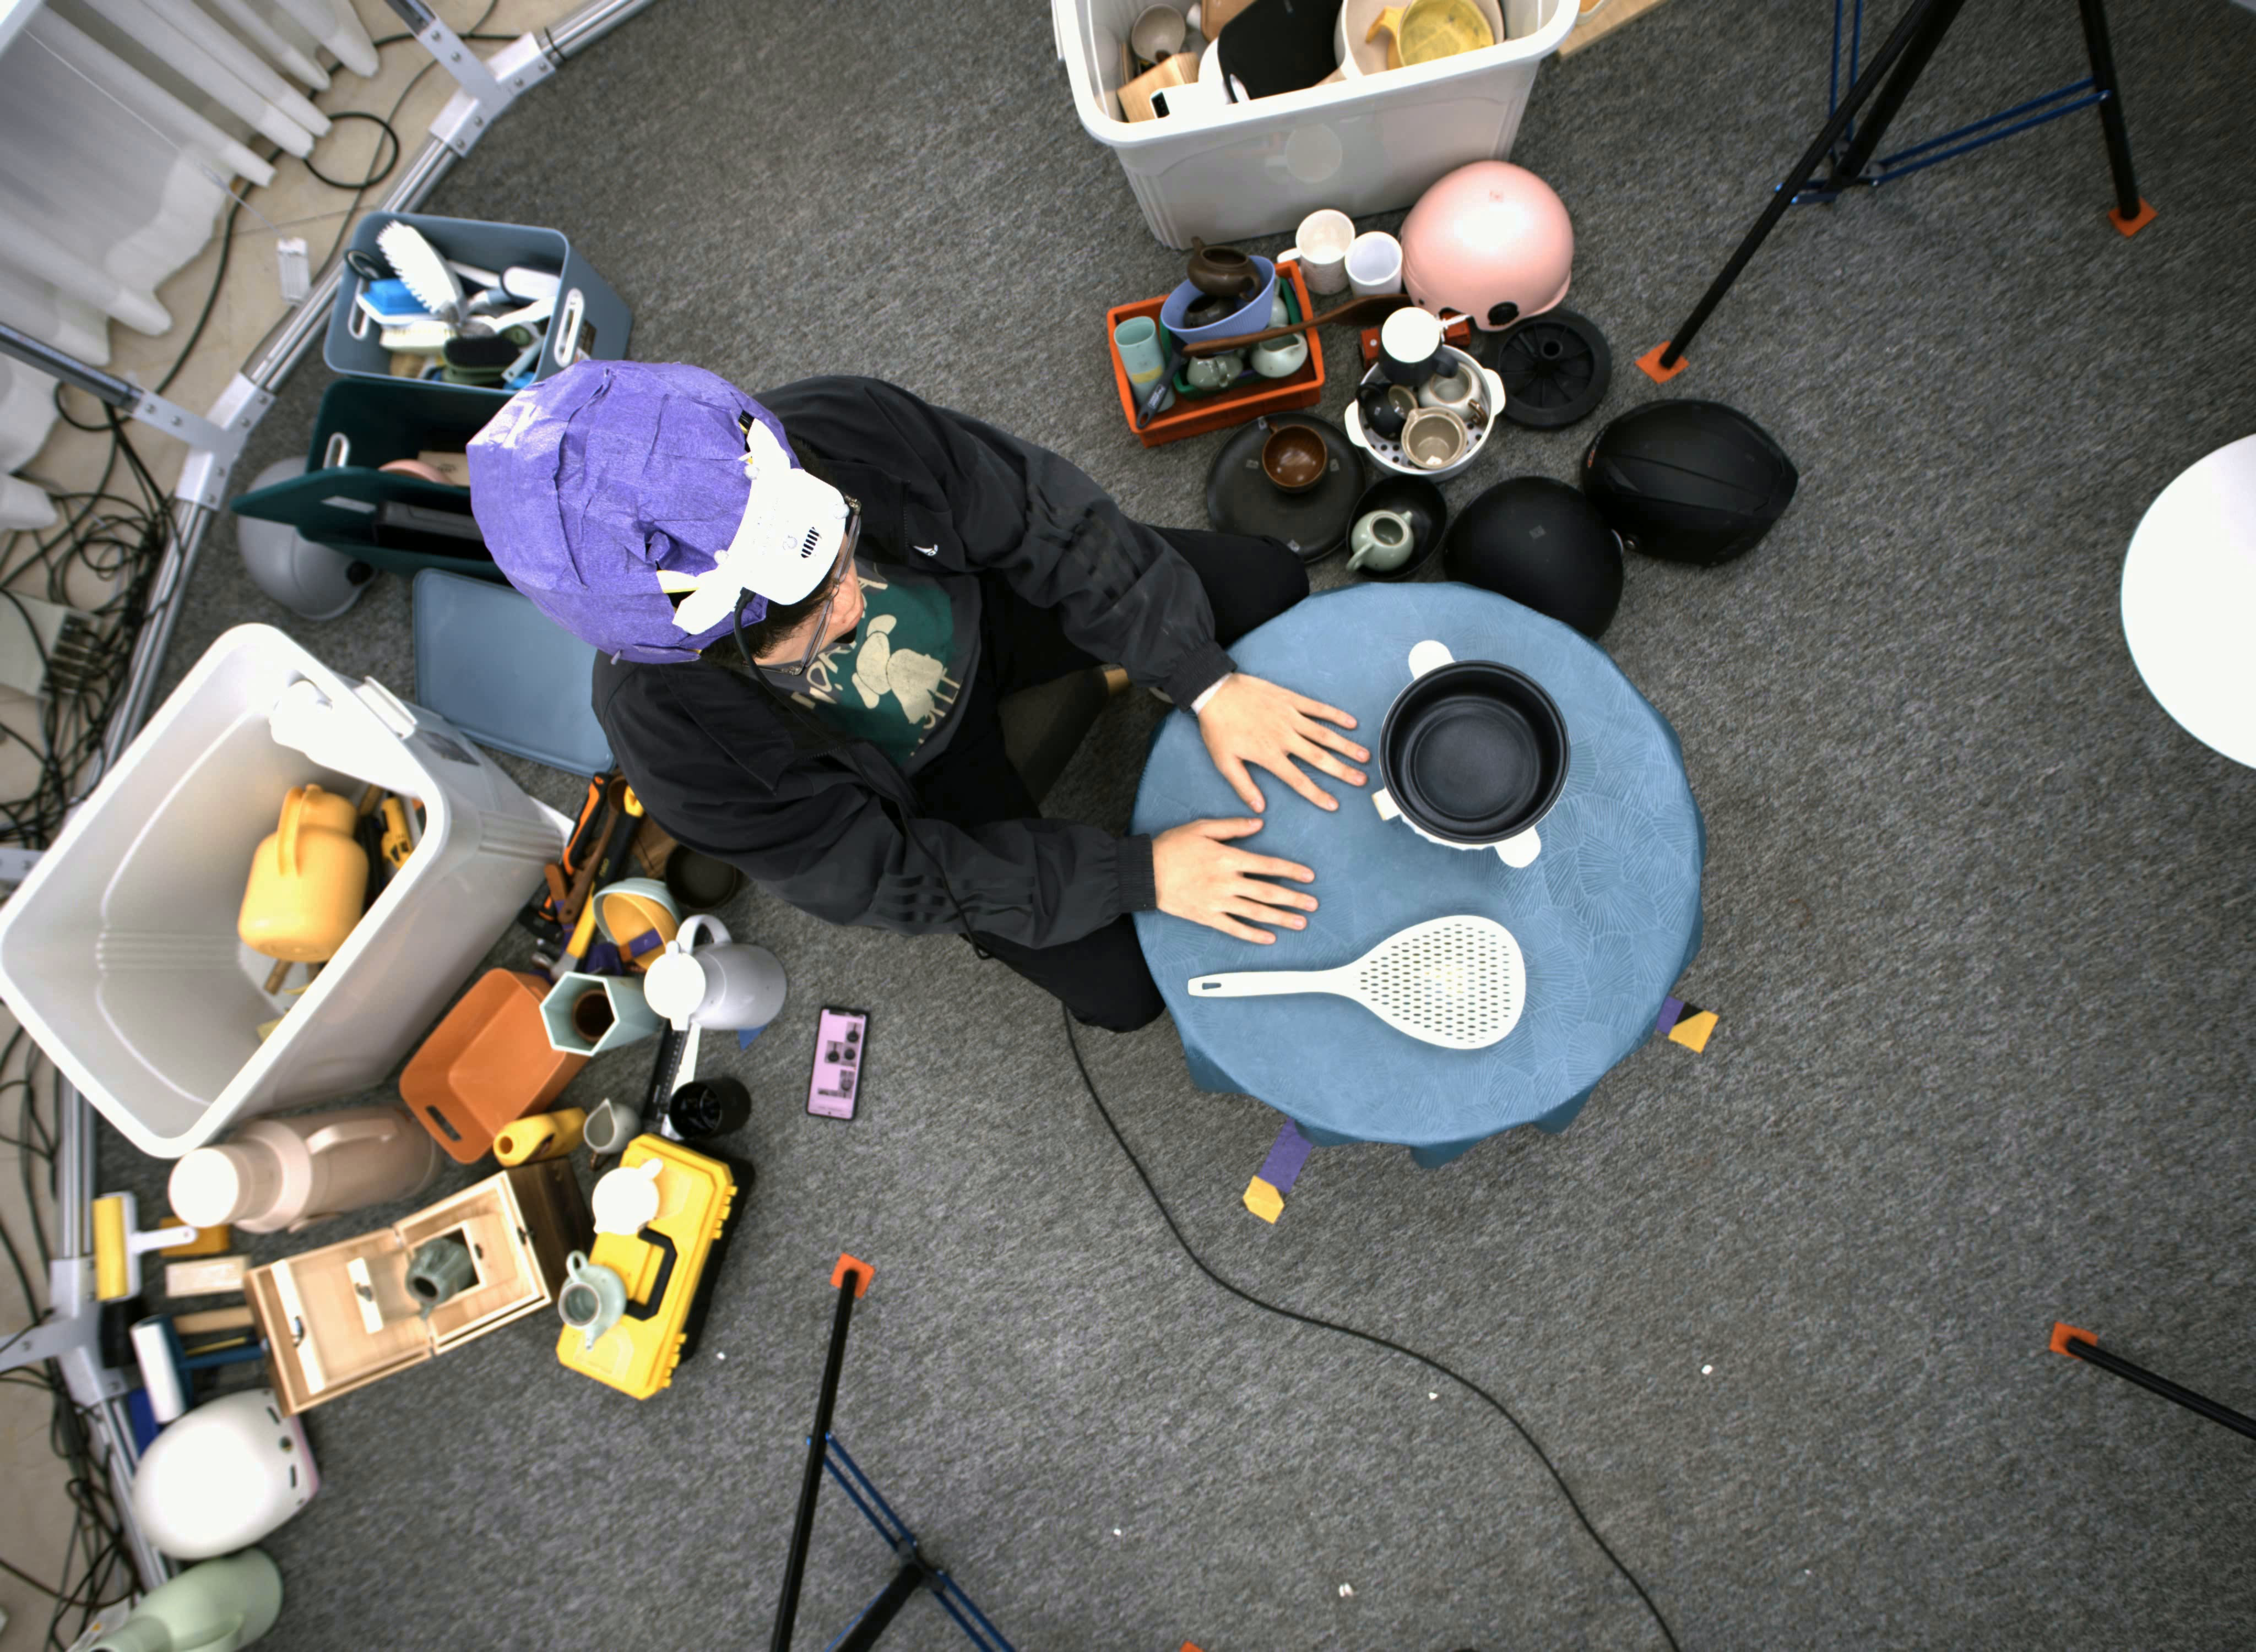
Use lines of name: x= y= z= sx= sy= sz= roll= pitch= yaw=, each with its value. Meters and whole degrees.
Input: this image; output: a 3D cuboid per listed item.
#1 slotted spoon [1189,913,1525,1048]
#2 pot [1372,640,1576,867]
slotted spoon: x=0.233 y=0.161 z=1.439 sx=0.349 sy=0.050 sz=0.136 roll=-2 pitch=88 yaw=10
pot: x=0.340 y=-0.063 z=1.382 sx=0.191 sy=0.143 sz=0.238 roll=-25 pitch=81 yaw=5
